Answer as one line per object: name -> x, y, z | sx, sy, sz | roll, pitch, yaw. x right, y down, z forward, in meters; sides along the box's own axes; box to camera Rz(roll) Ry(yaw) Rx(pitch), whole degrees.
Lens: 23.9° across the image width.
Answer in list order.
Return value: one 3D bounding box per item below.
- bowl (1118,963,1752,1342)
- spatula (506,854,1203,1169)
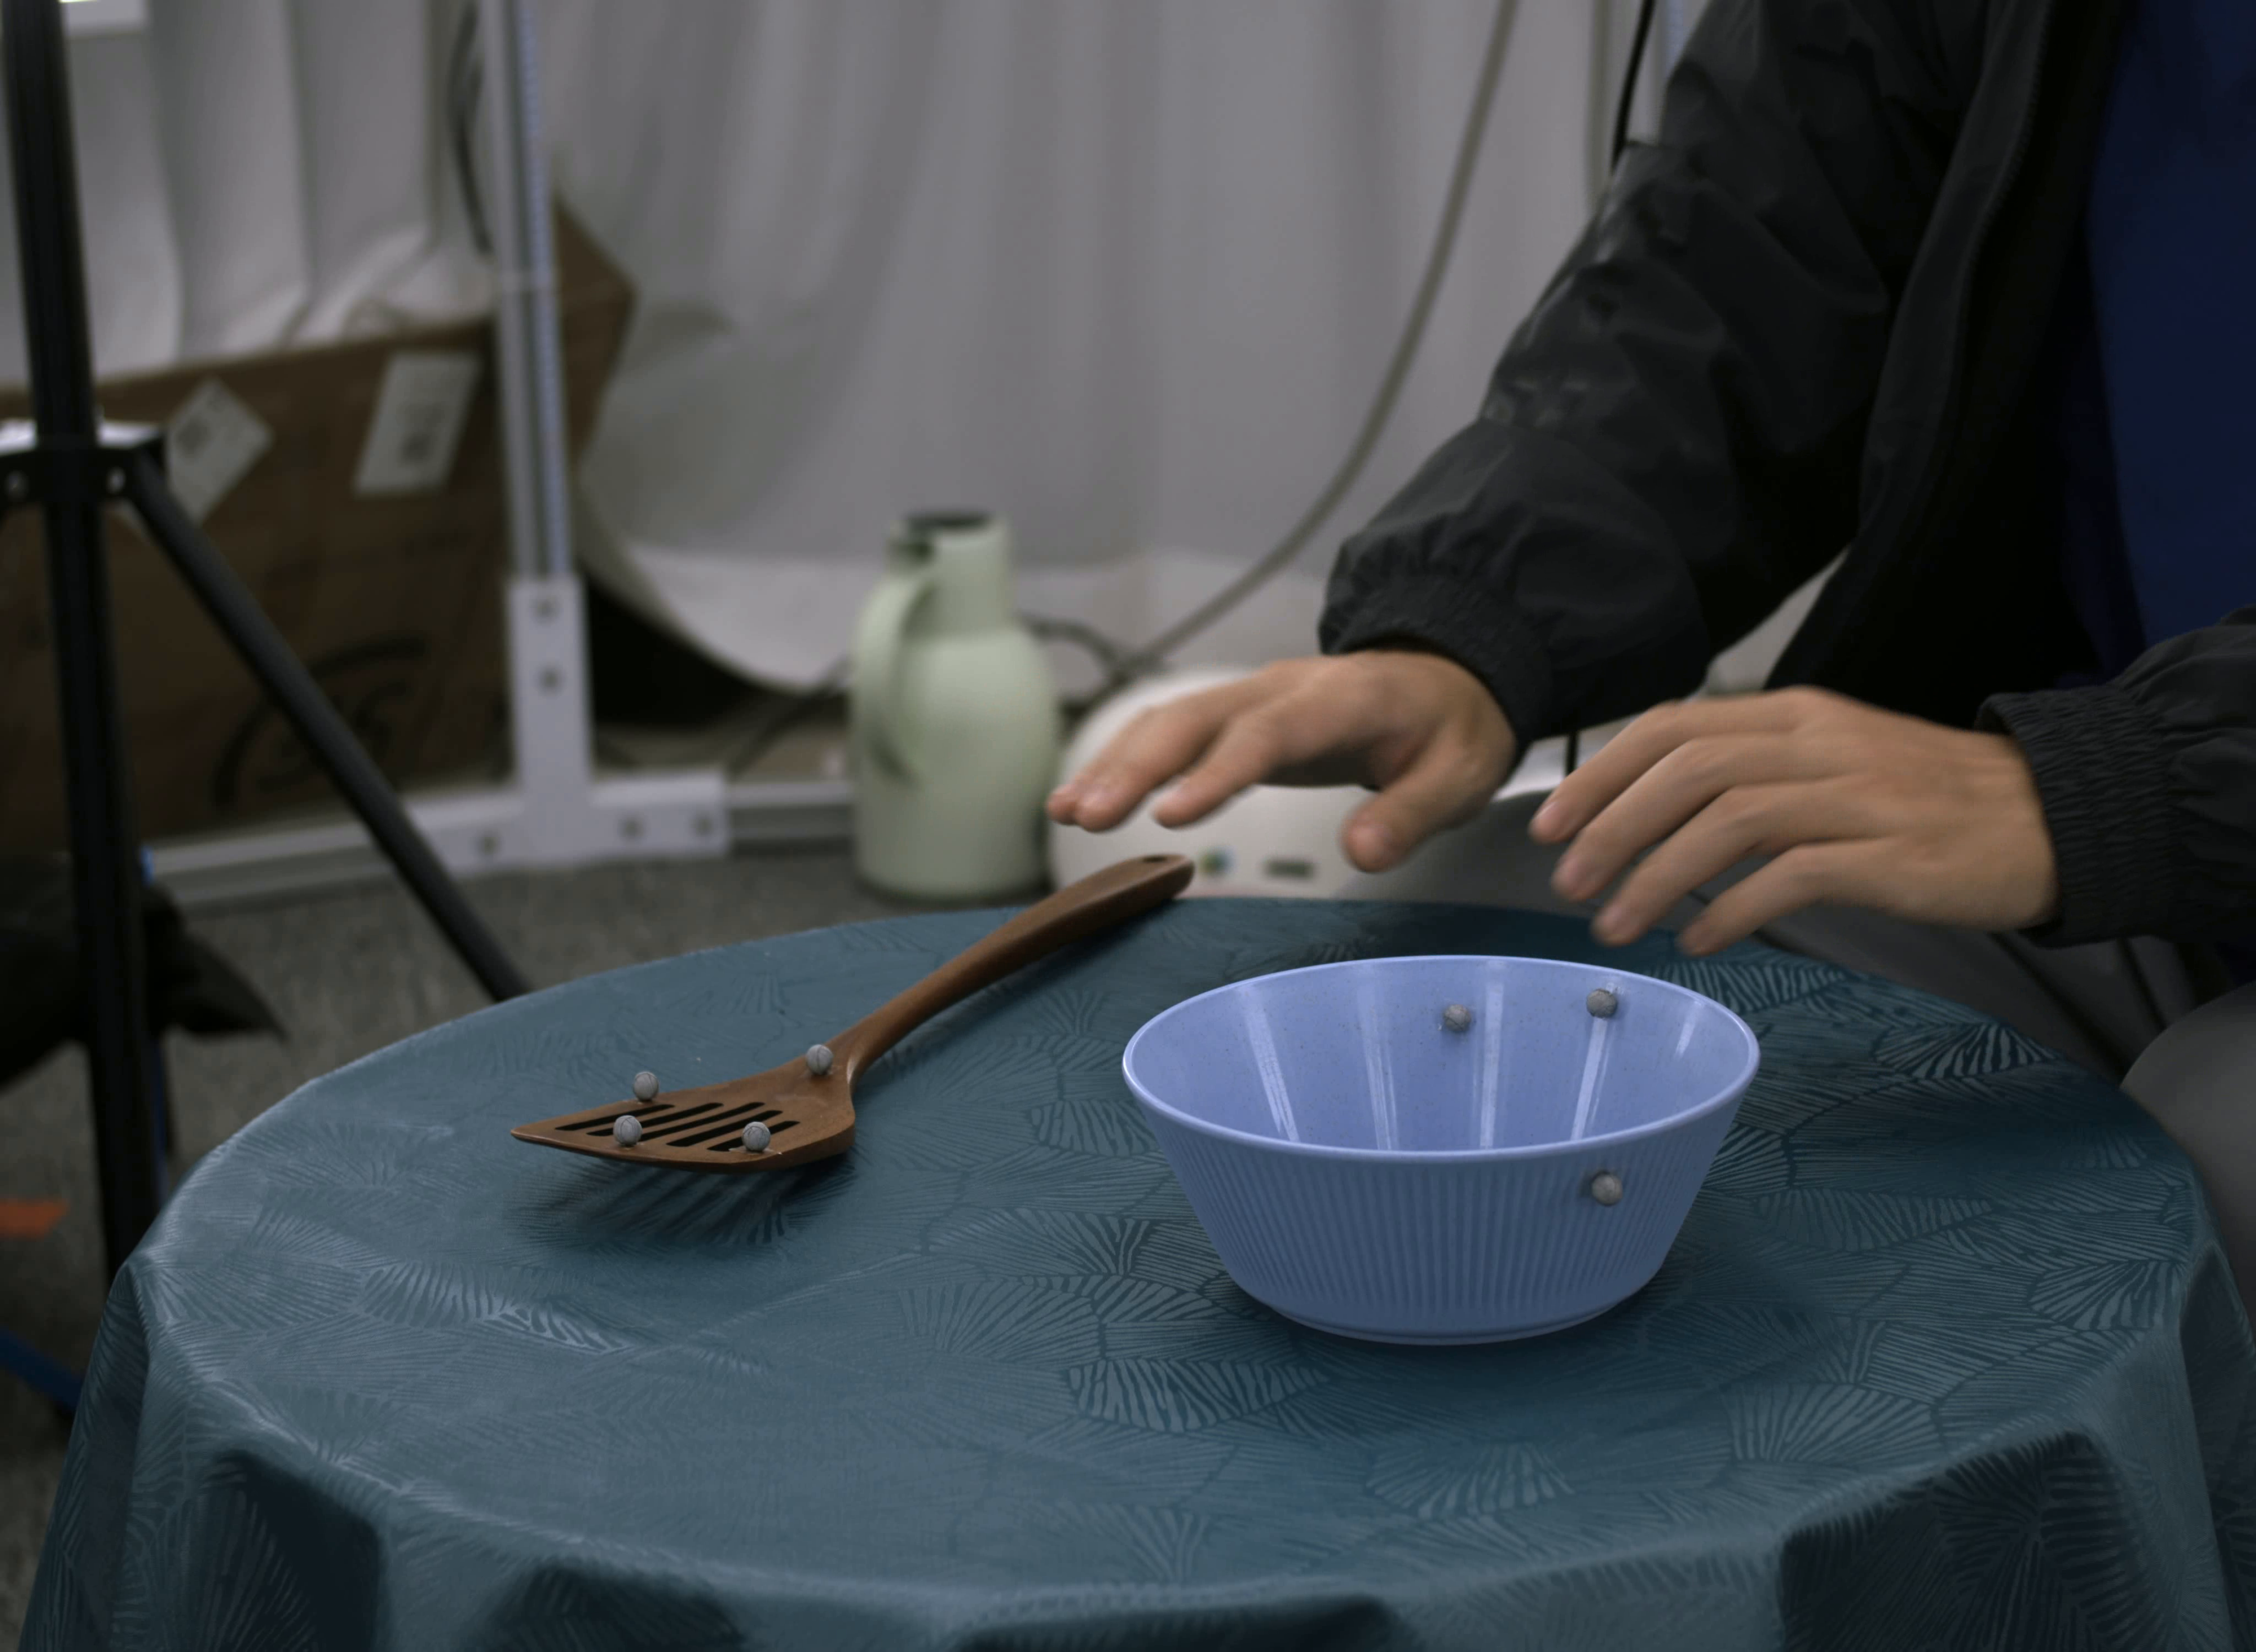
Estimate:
bowl -> 0.085, 0.093, 1.469 | 0.175, 0.070, 0.177 | -2, 15, -1
spatula -> -0.067, 0.059, 1.705 | 0.087, 0.024, 0.380 | 6, 16, 27
